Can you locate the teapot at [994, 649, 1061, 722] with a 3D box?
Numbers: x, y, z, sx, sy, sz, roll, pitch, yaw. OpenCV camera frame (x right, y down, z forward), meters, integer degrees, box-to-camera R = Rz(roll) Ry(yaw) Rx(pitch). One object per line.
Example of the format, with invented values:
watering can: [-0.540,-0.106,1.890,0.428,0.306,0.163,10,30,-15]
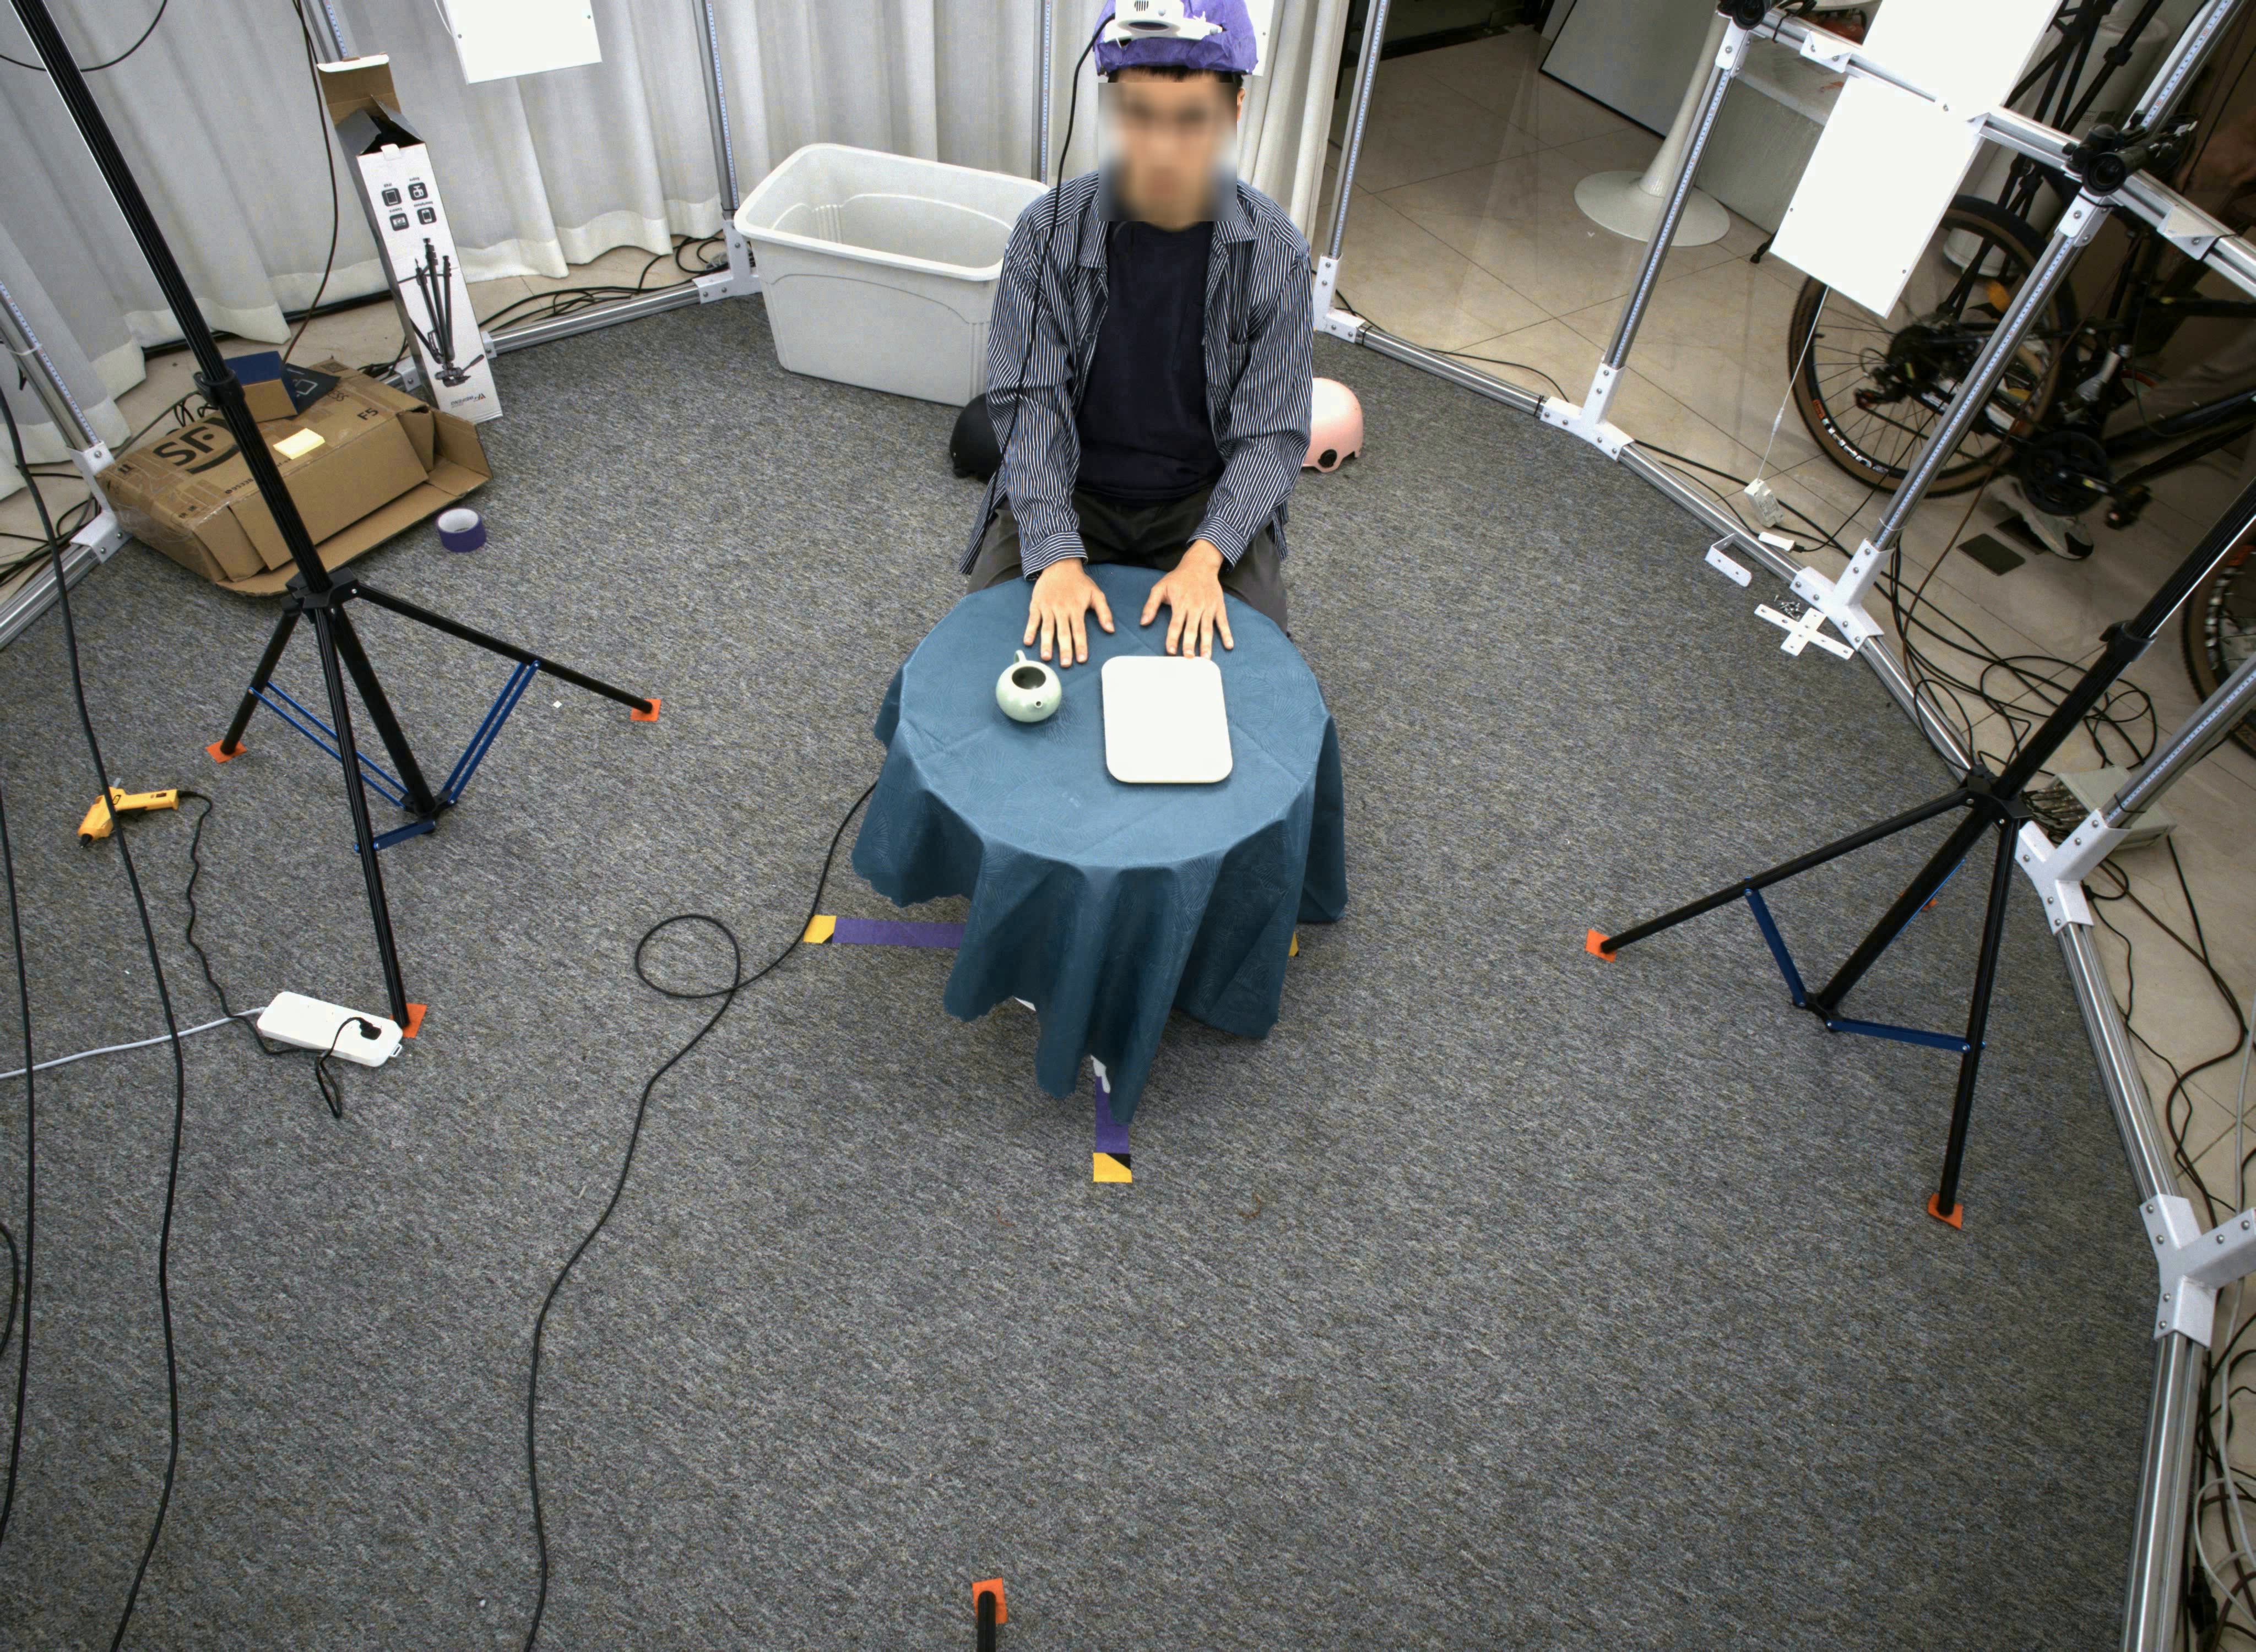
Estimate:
teapot: [-0.140,-0.193,1.777,0.091,0.059,0.132,-8,49,-10]

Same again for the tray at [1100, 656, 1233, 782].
tray: [0.050,-0.149,1.781,0.171,0.017,0.246,0,48,-6]
